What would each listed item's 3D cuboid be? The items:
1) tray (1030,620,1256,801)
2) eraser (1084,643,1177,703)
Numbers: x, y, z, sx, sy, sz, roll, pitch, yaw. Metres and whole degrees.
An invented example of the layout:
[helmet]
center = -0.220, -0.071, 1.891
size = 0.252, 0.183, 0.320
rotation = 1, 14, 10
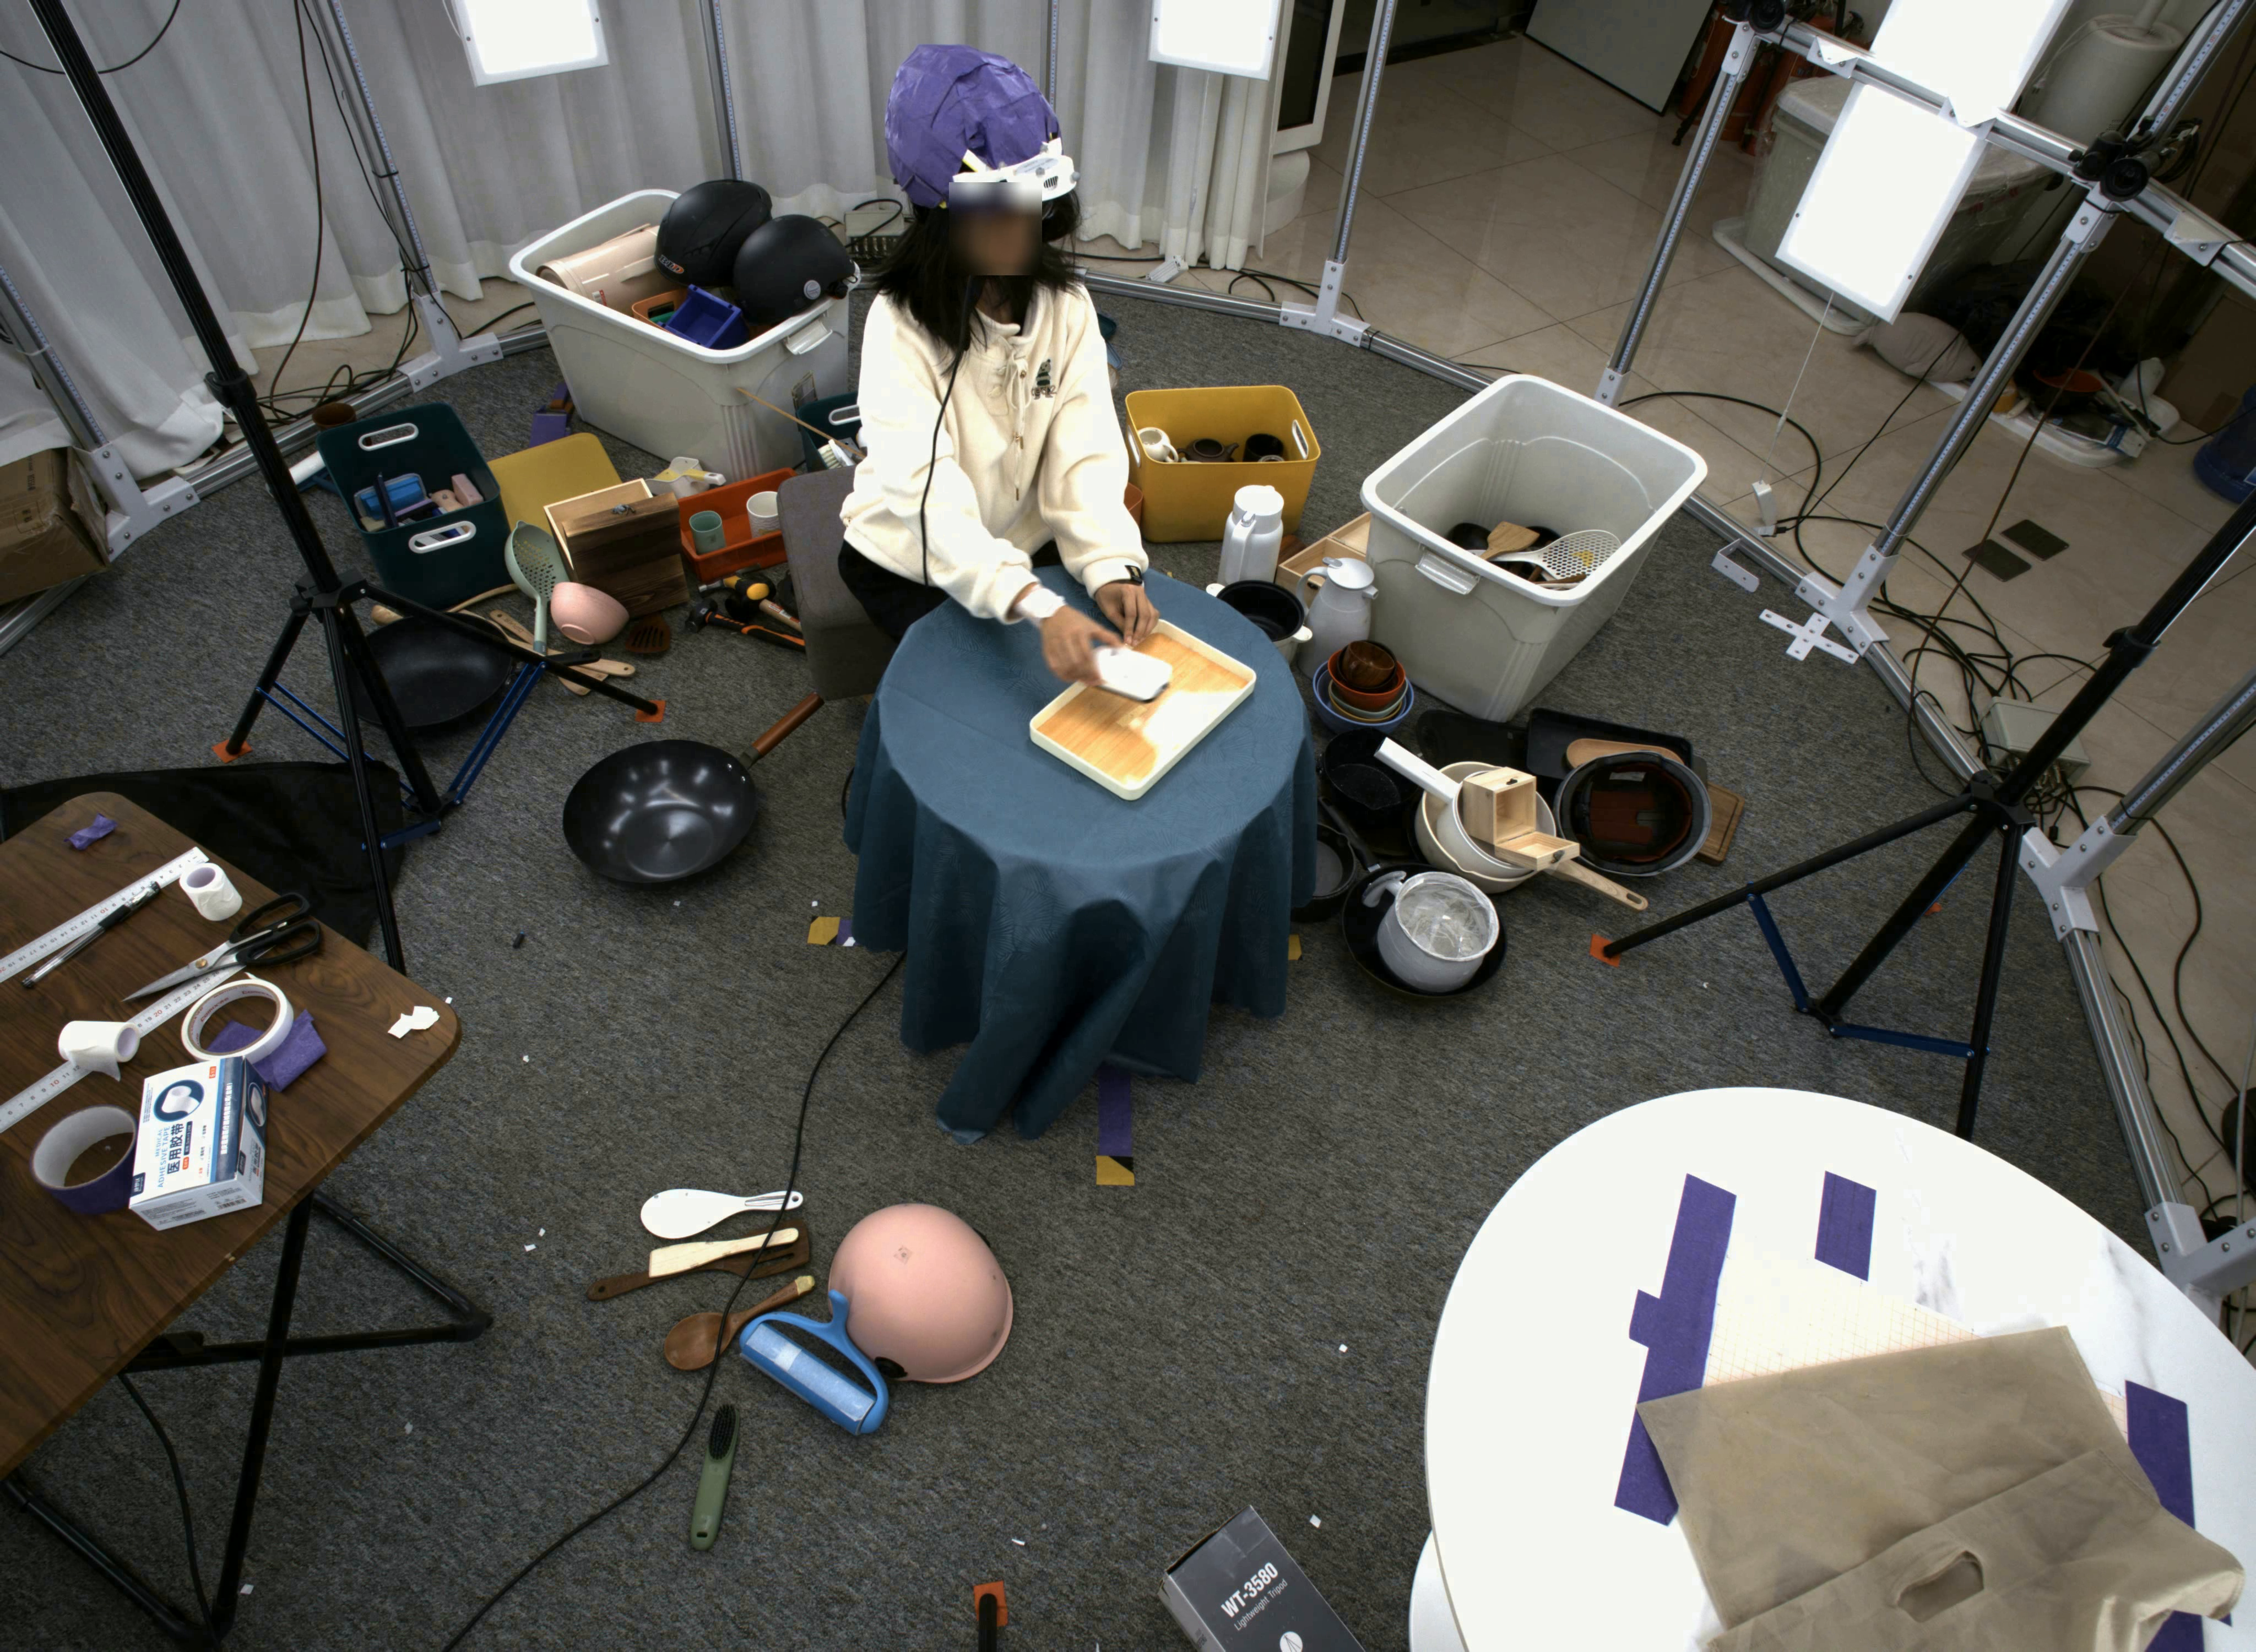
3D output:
[tray]
center = 0.024, -0.169, 1.801
size = 0.194, 0.027, 0.304
rotation = 32, 55, 22
[eraser]
center = 0.004, -0.214, 1.765
size = 0.133, 0.033, 0.064
rotation = 23, 57, 29
